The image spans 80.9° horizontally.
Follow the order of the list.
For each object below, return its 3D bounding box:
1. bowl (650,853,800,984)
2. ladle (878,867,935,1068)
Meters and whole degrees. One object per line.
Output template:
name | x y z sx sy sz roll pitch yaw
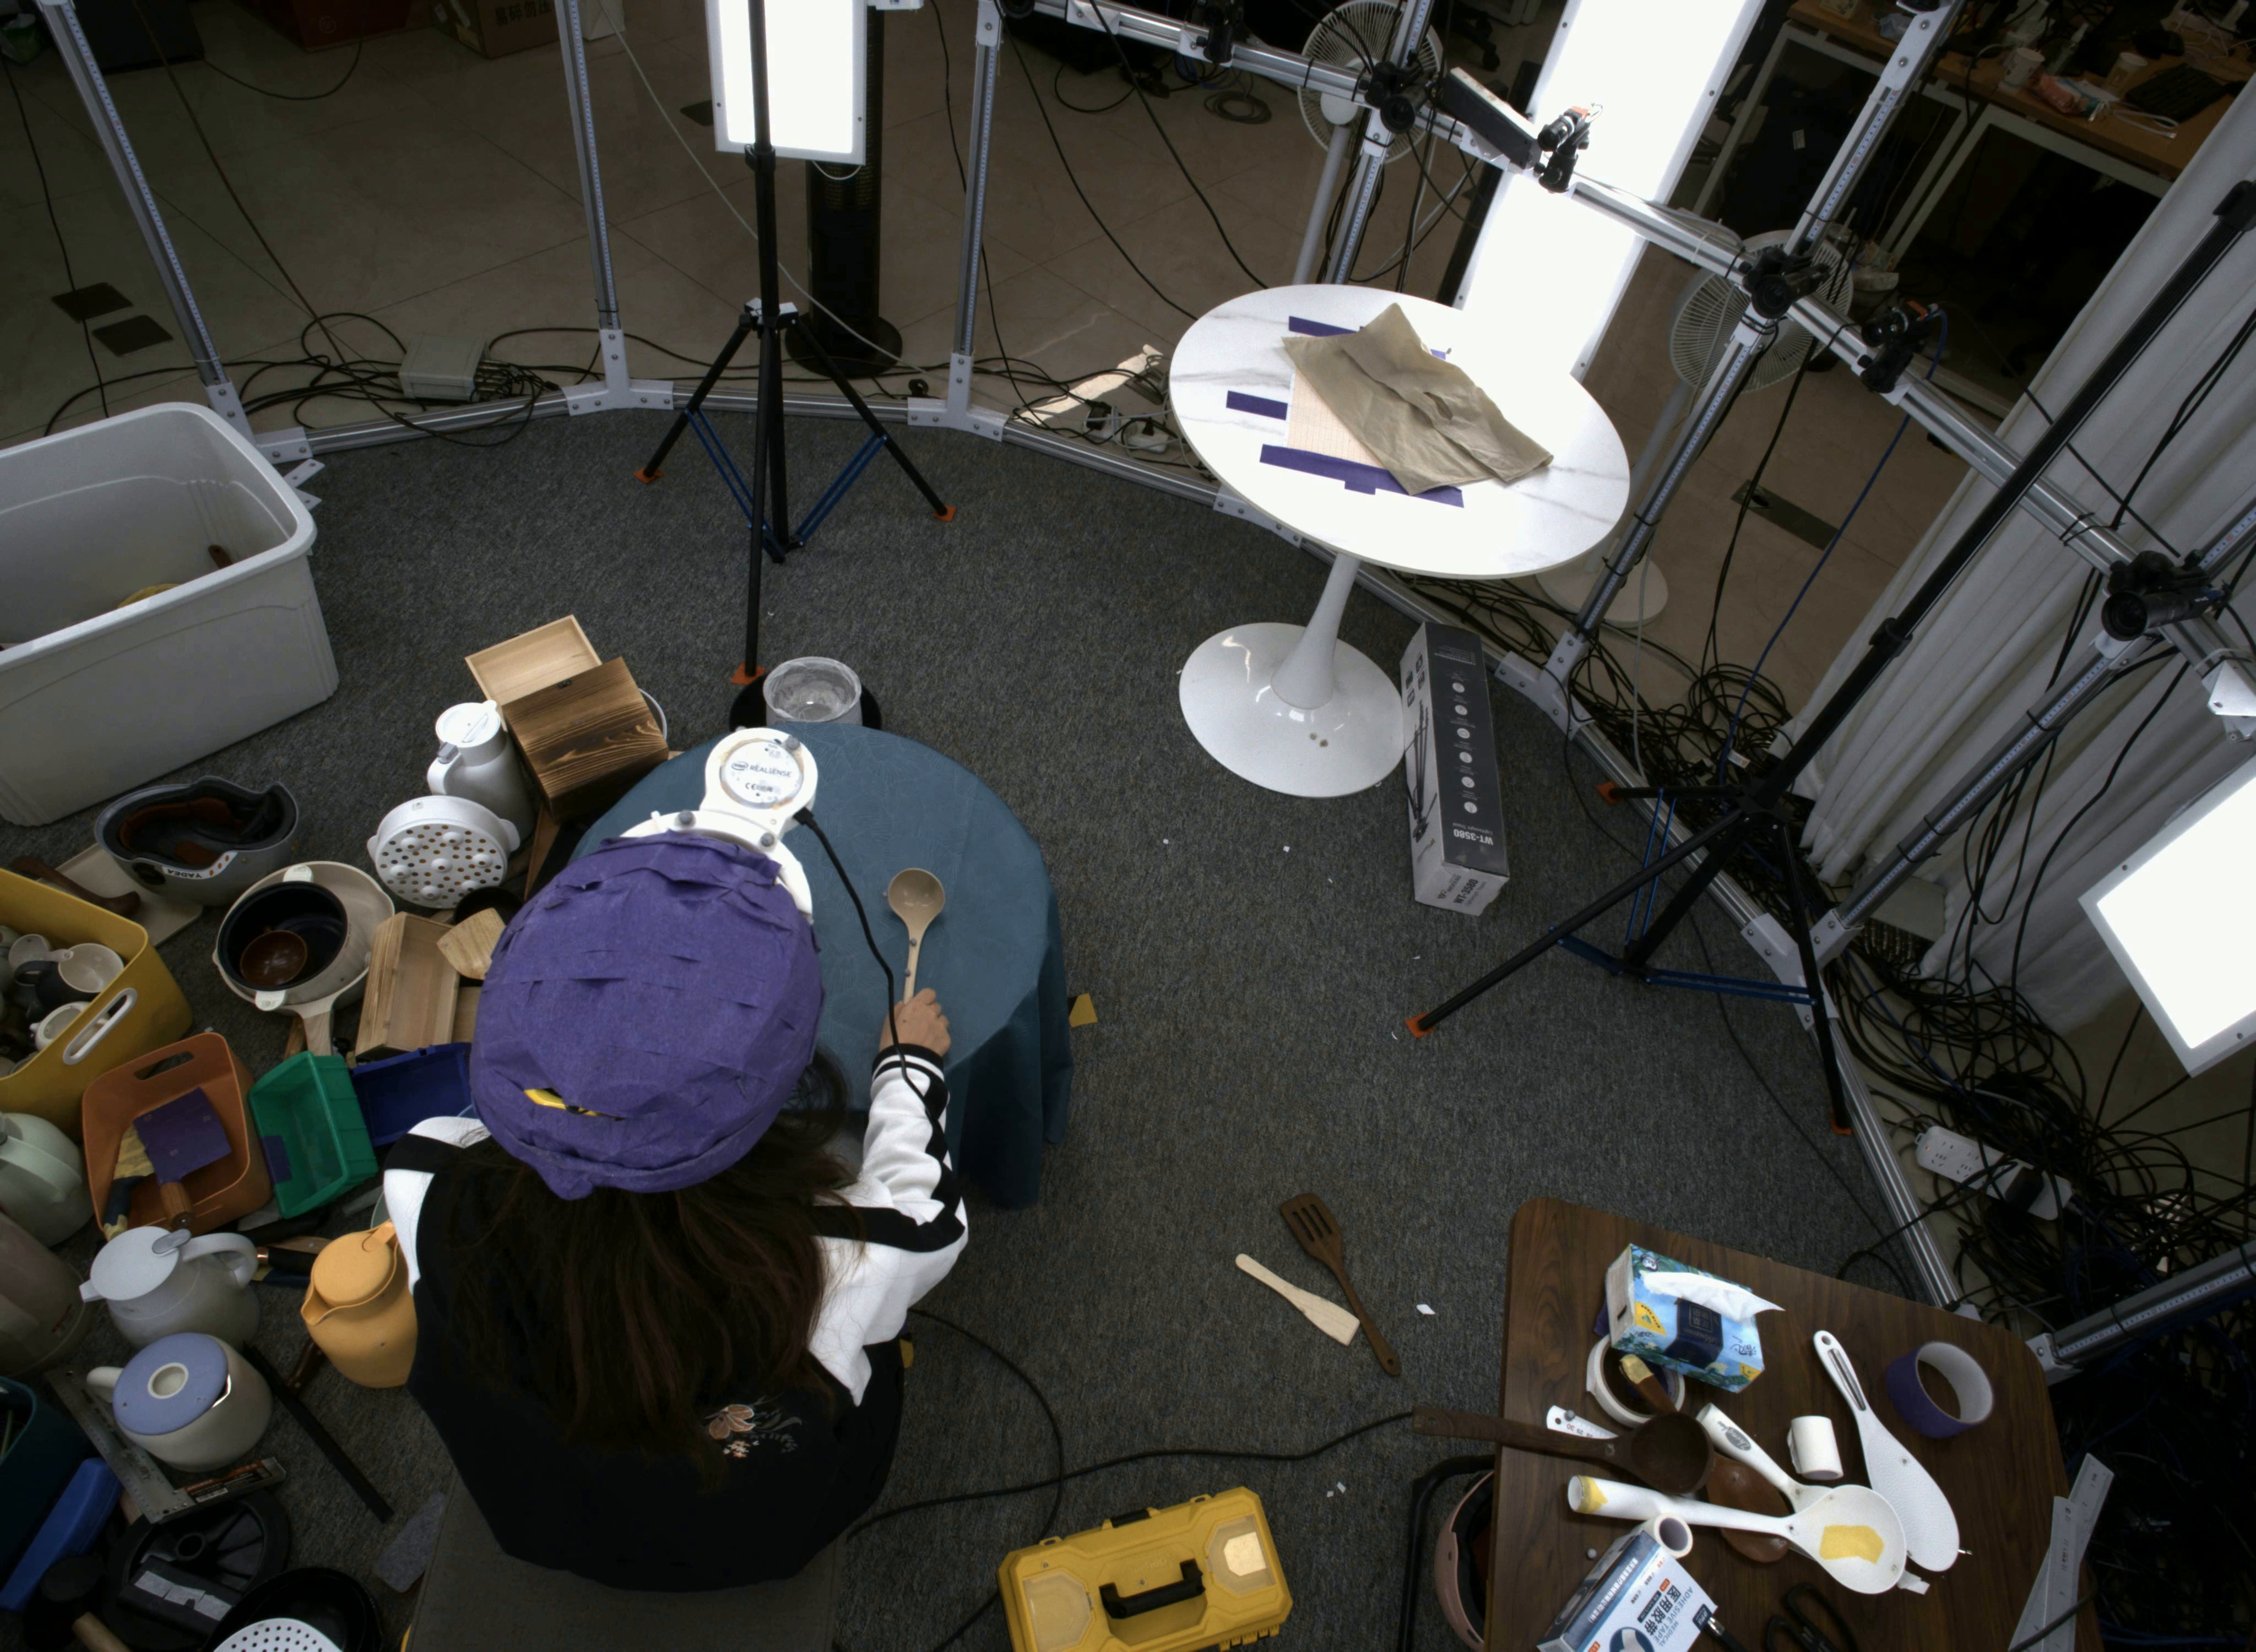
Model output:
bowl | -0.485 0.121 1.567 0.175 0.072 0.173 7 52 -8
ladle | -0.275 0.162 1.587 0.071 0.075 0.249 -1 53 -5
